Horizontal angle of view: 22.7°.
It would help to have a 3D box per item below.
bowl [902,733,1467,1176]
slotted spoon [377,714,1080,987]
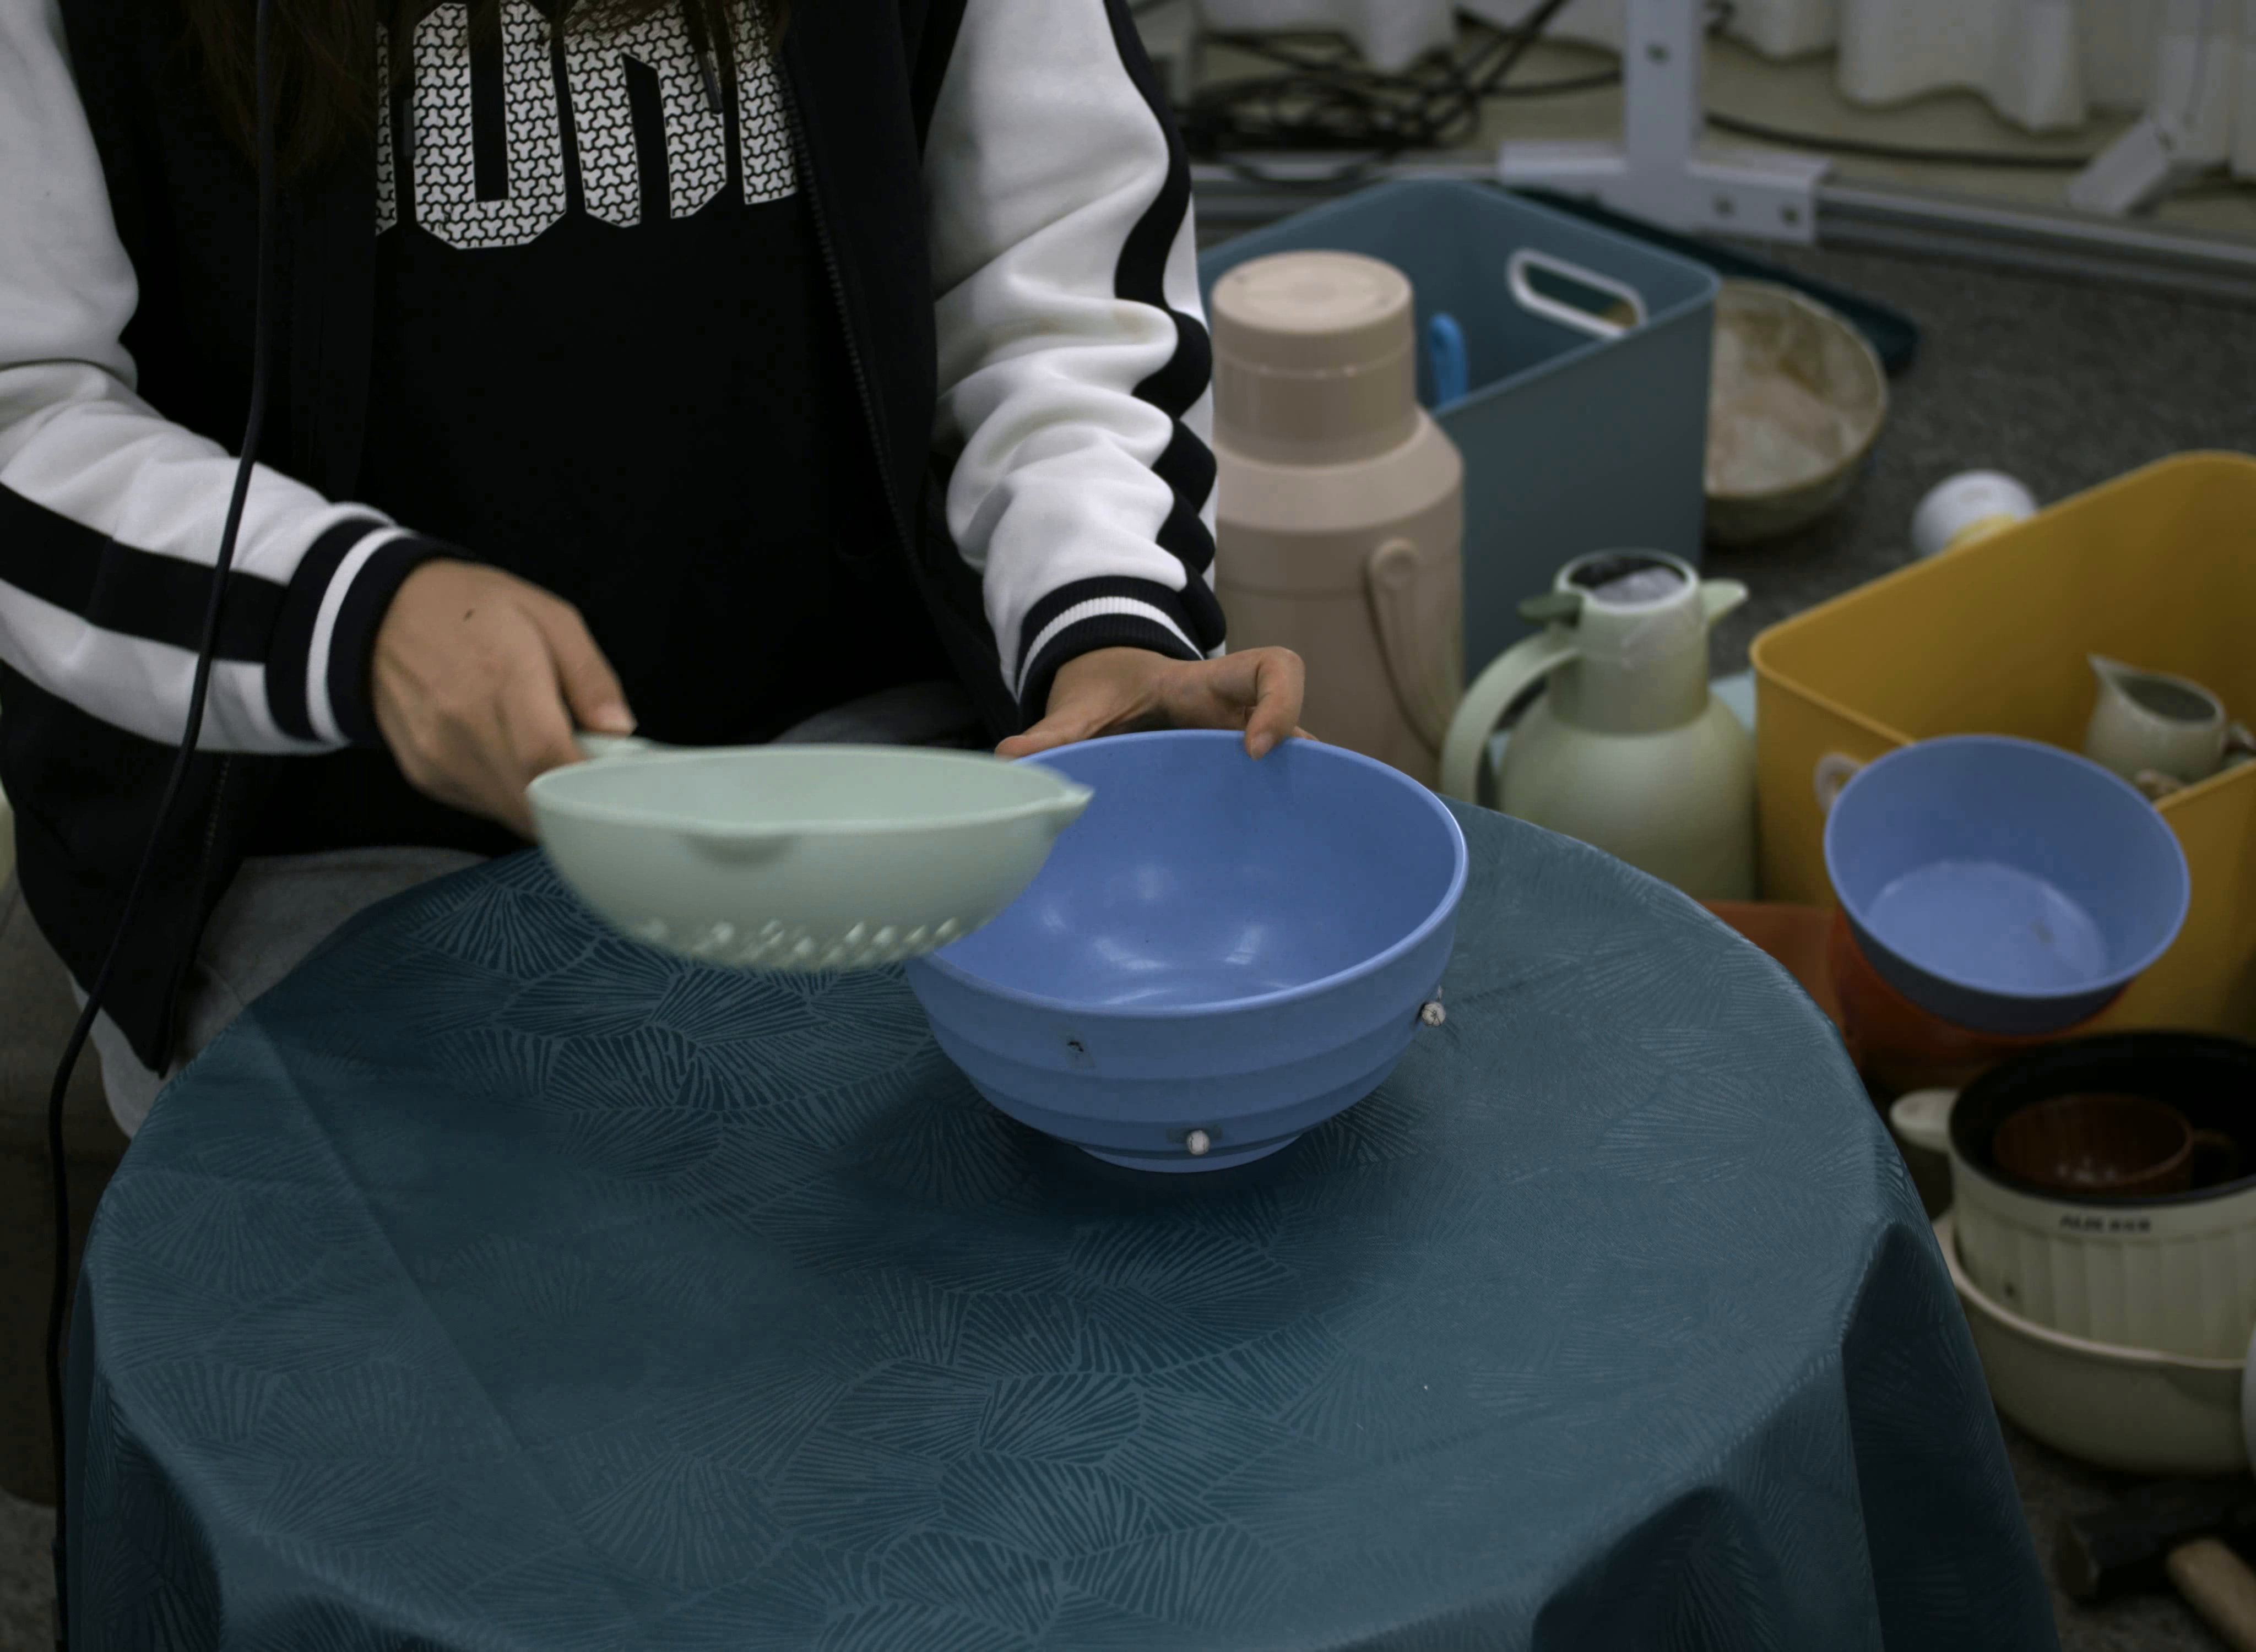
[{"bbox_3d":[0.018,0.054,1.889,0.195,0.094,0.199,-3,27,2],"label":"bowl"},{"bbox_3d":[-0.161,-0.007,1.838,0.170,0.075,0.358,-4,17,-34],"label":"slotted spoon"}]
